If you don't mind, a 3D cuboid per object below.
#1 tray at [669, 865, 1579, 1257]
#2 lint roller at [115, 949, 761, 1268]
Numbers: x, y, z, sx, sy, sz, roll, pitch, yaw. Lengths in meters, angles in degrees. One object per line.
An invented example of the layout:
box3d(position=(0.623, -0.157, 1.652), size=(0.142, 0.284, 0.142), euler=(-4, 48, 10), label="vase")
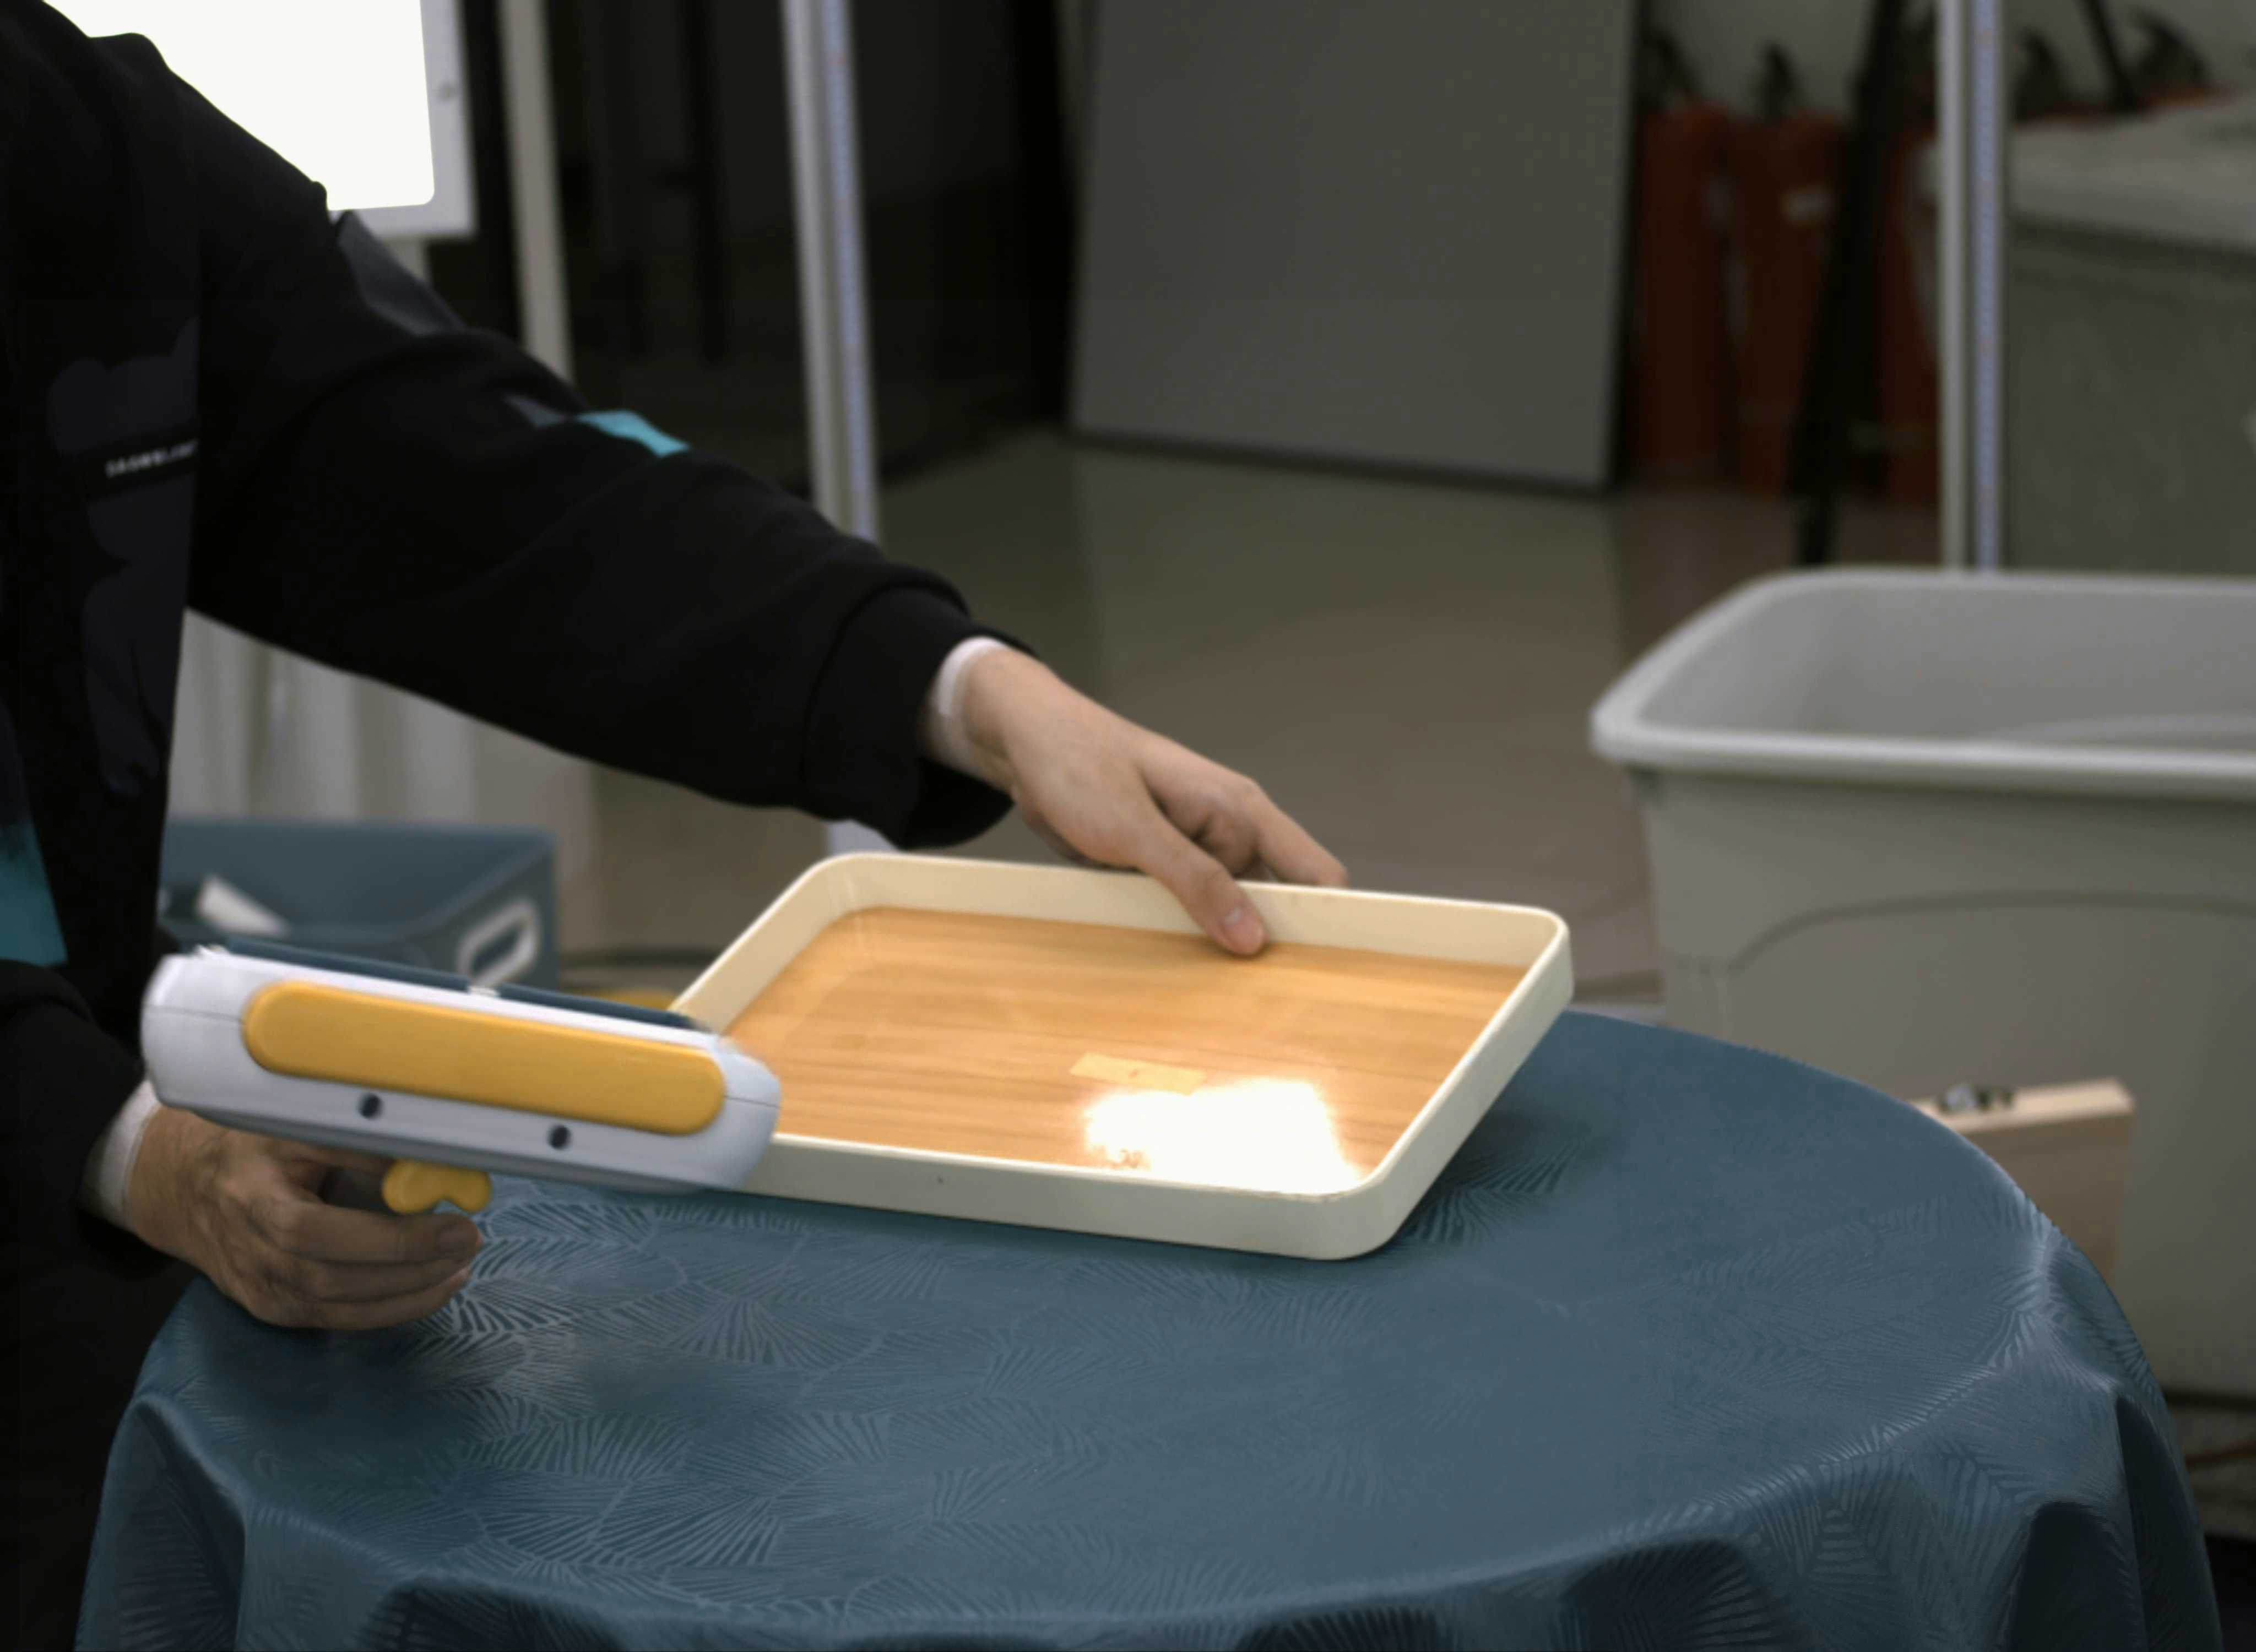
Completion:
box3d(position=(-0.014, 0.075, 1.819), size=(0.301, 0.027, 0.189), euler=(4, 29, 30), label="tray")
box3d(position=(-0.219, 0.093, 1.660), size=(0.189, 0.075, 0.193), euler=(5, -14, -15), label="lint roller")
